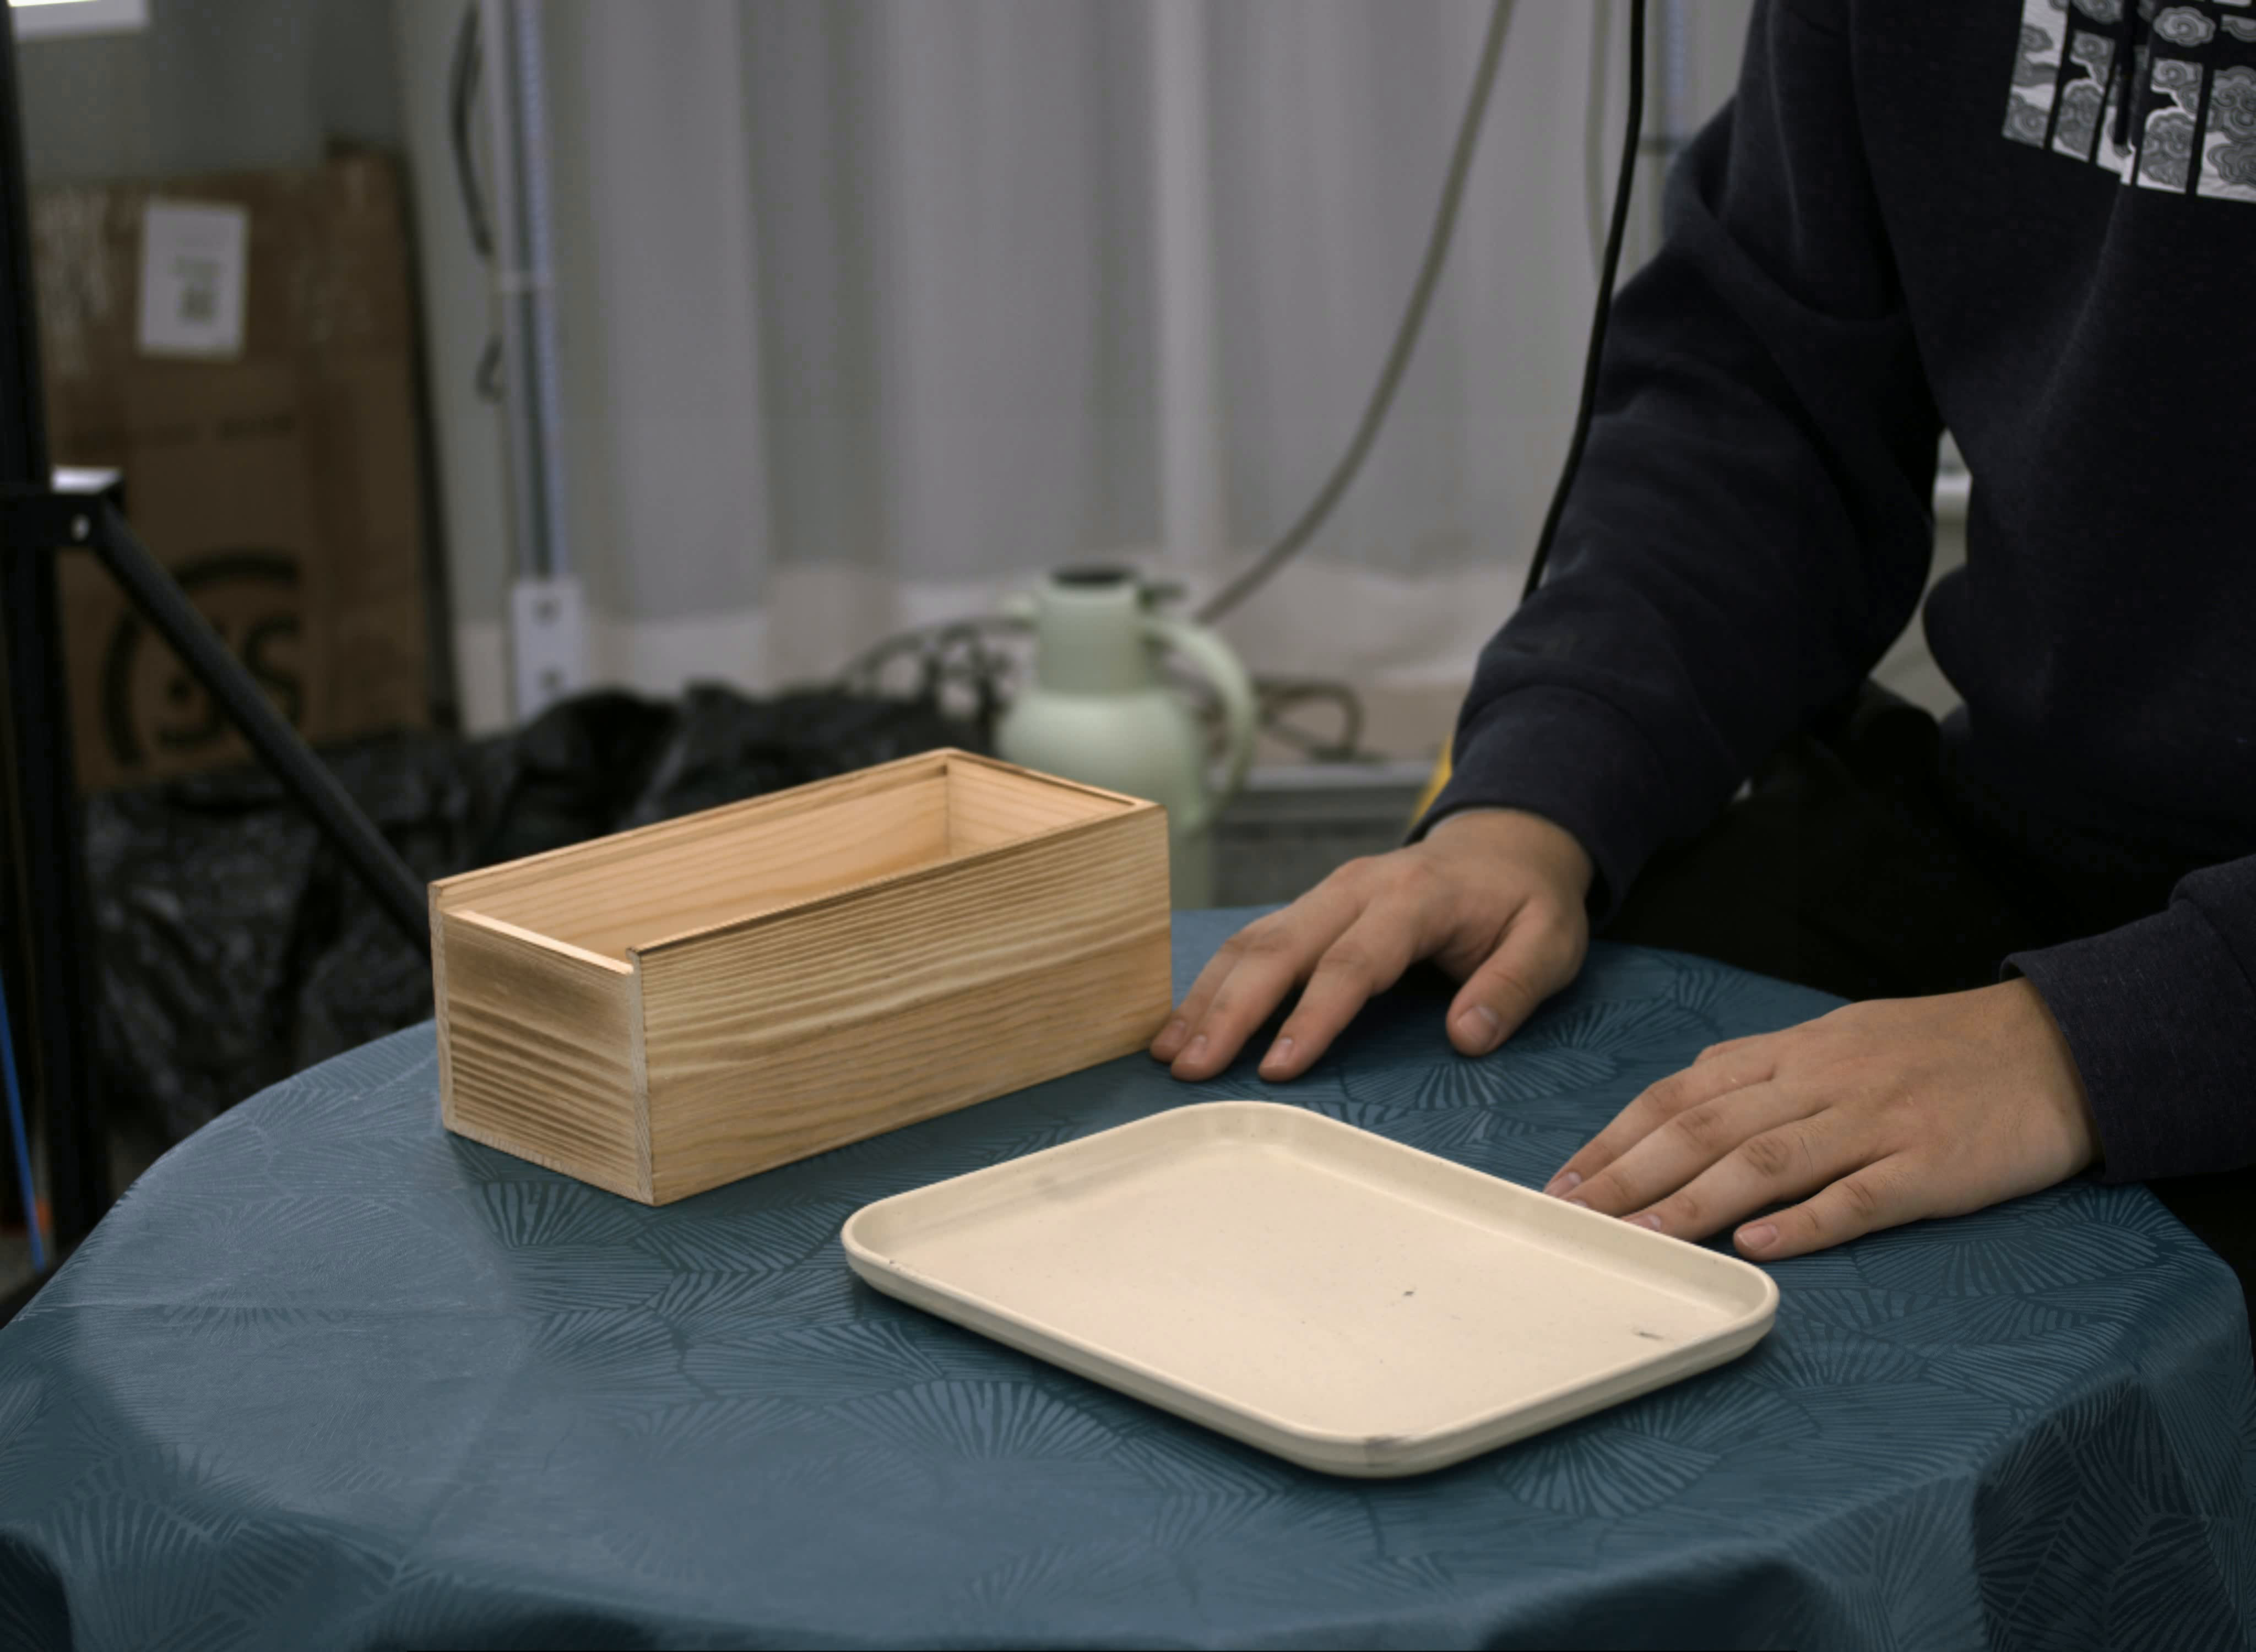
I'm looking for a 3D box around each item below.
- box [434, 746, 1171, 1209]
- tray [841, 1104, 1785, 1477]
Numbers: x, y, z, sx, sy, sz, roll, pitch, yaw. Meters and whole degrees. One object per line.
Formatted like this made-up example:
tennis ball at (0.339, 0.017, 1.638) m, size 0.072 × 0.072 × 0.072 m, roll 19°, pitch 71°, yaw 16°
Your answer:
box at (-0.098, 0.043, 1.655) m, size 0.206 × 0.080 × 0.110 m, roll -16°, pitch 21°, yaw -40°
tray at (0.048, 0.126, 1.456) m, size 0.167 × 0.017 × 0.245 m, roll -14°, pitch 19°, yaw -37°
